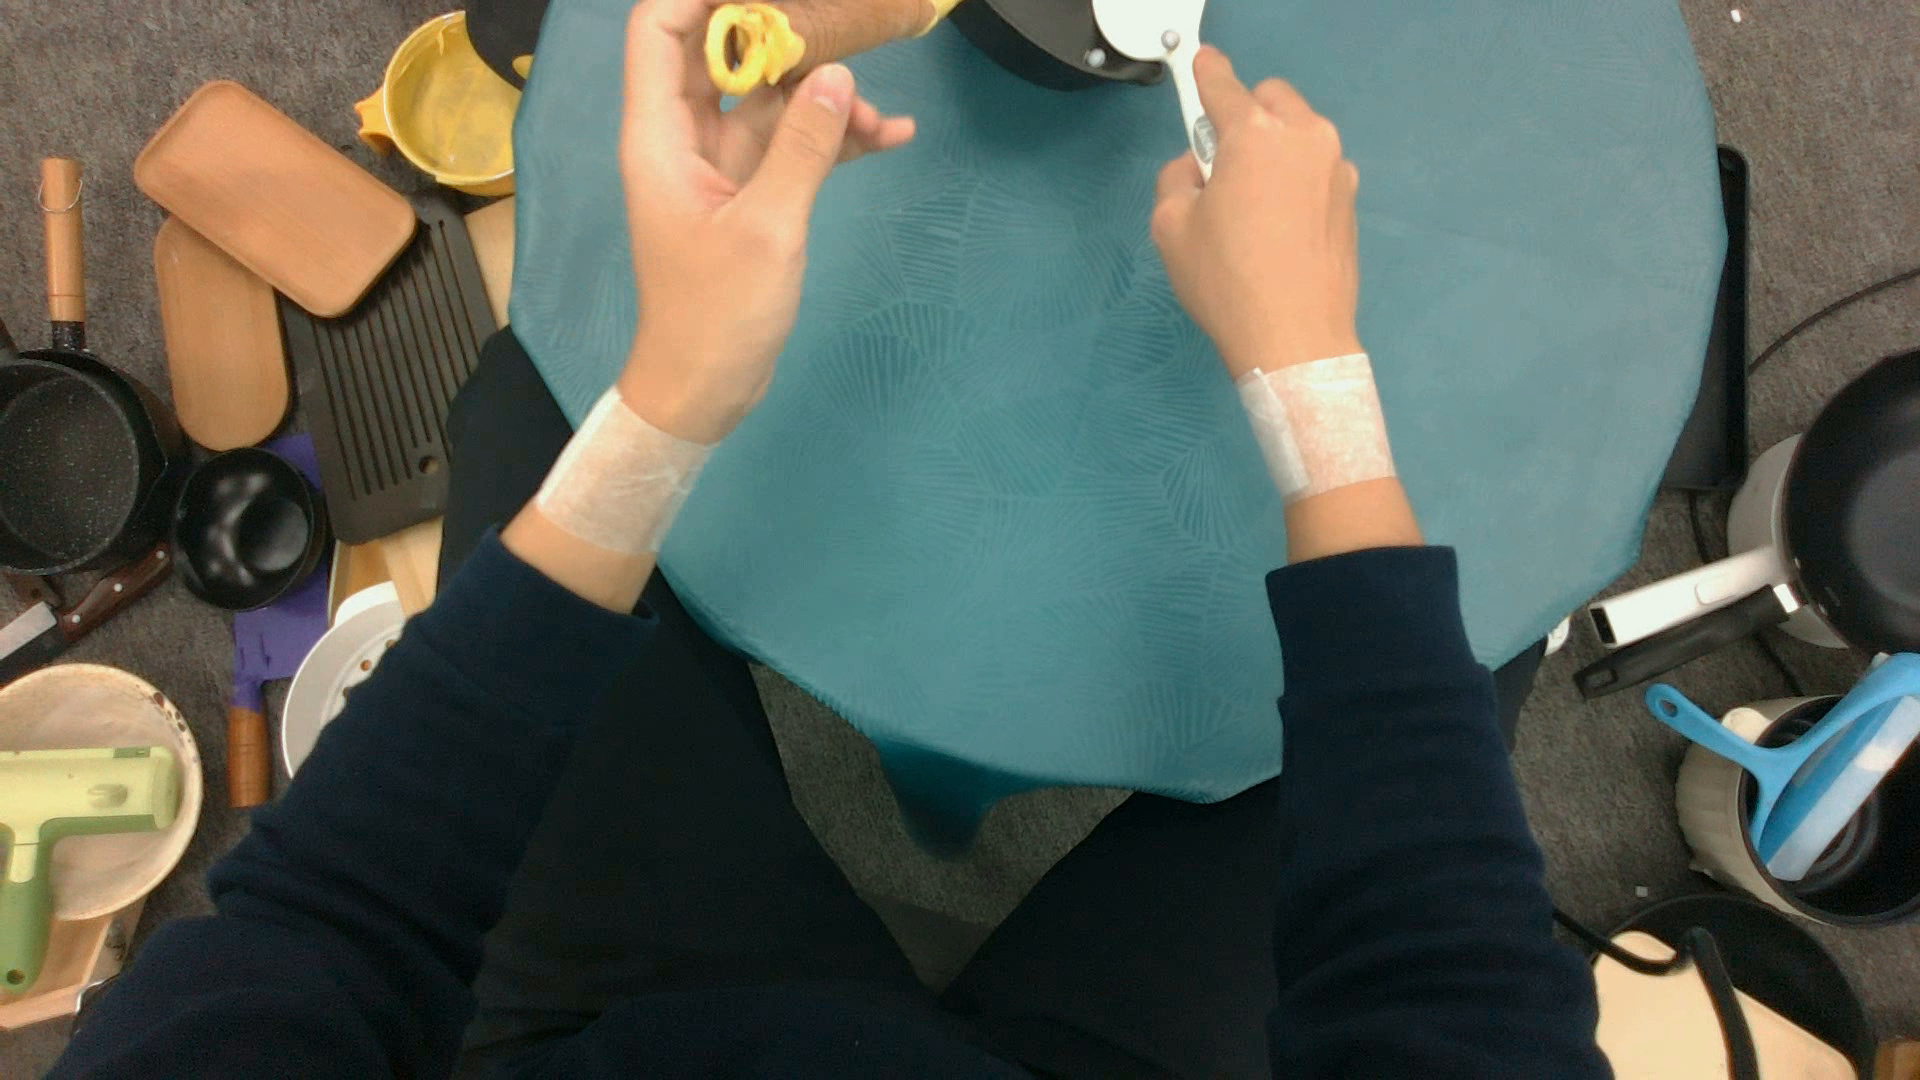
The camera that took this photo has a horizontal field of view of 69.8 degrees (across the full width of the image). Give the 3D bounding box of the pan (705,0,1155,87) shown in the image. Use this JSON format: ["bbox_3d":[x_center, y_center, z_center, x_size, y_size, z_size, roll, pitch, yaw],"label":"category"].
[{"bbox_3d":[-0.013,-0.236,0.575,0.169,0.049,0.326,52,43,-6],"label":"pan"}]

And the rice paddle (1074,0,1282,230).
[{"bbox_3d":[0.095,-0.225,0.630,0.029,0.068,0.206,13,49,-40],"label":"rice paddle"}]
